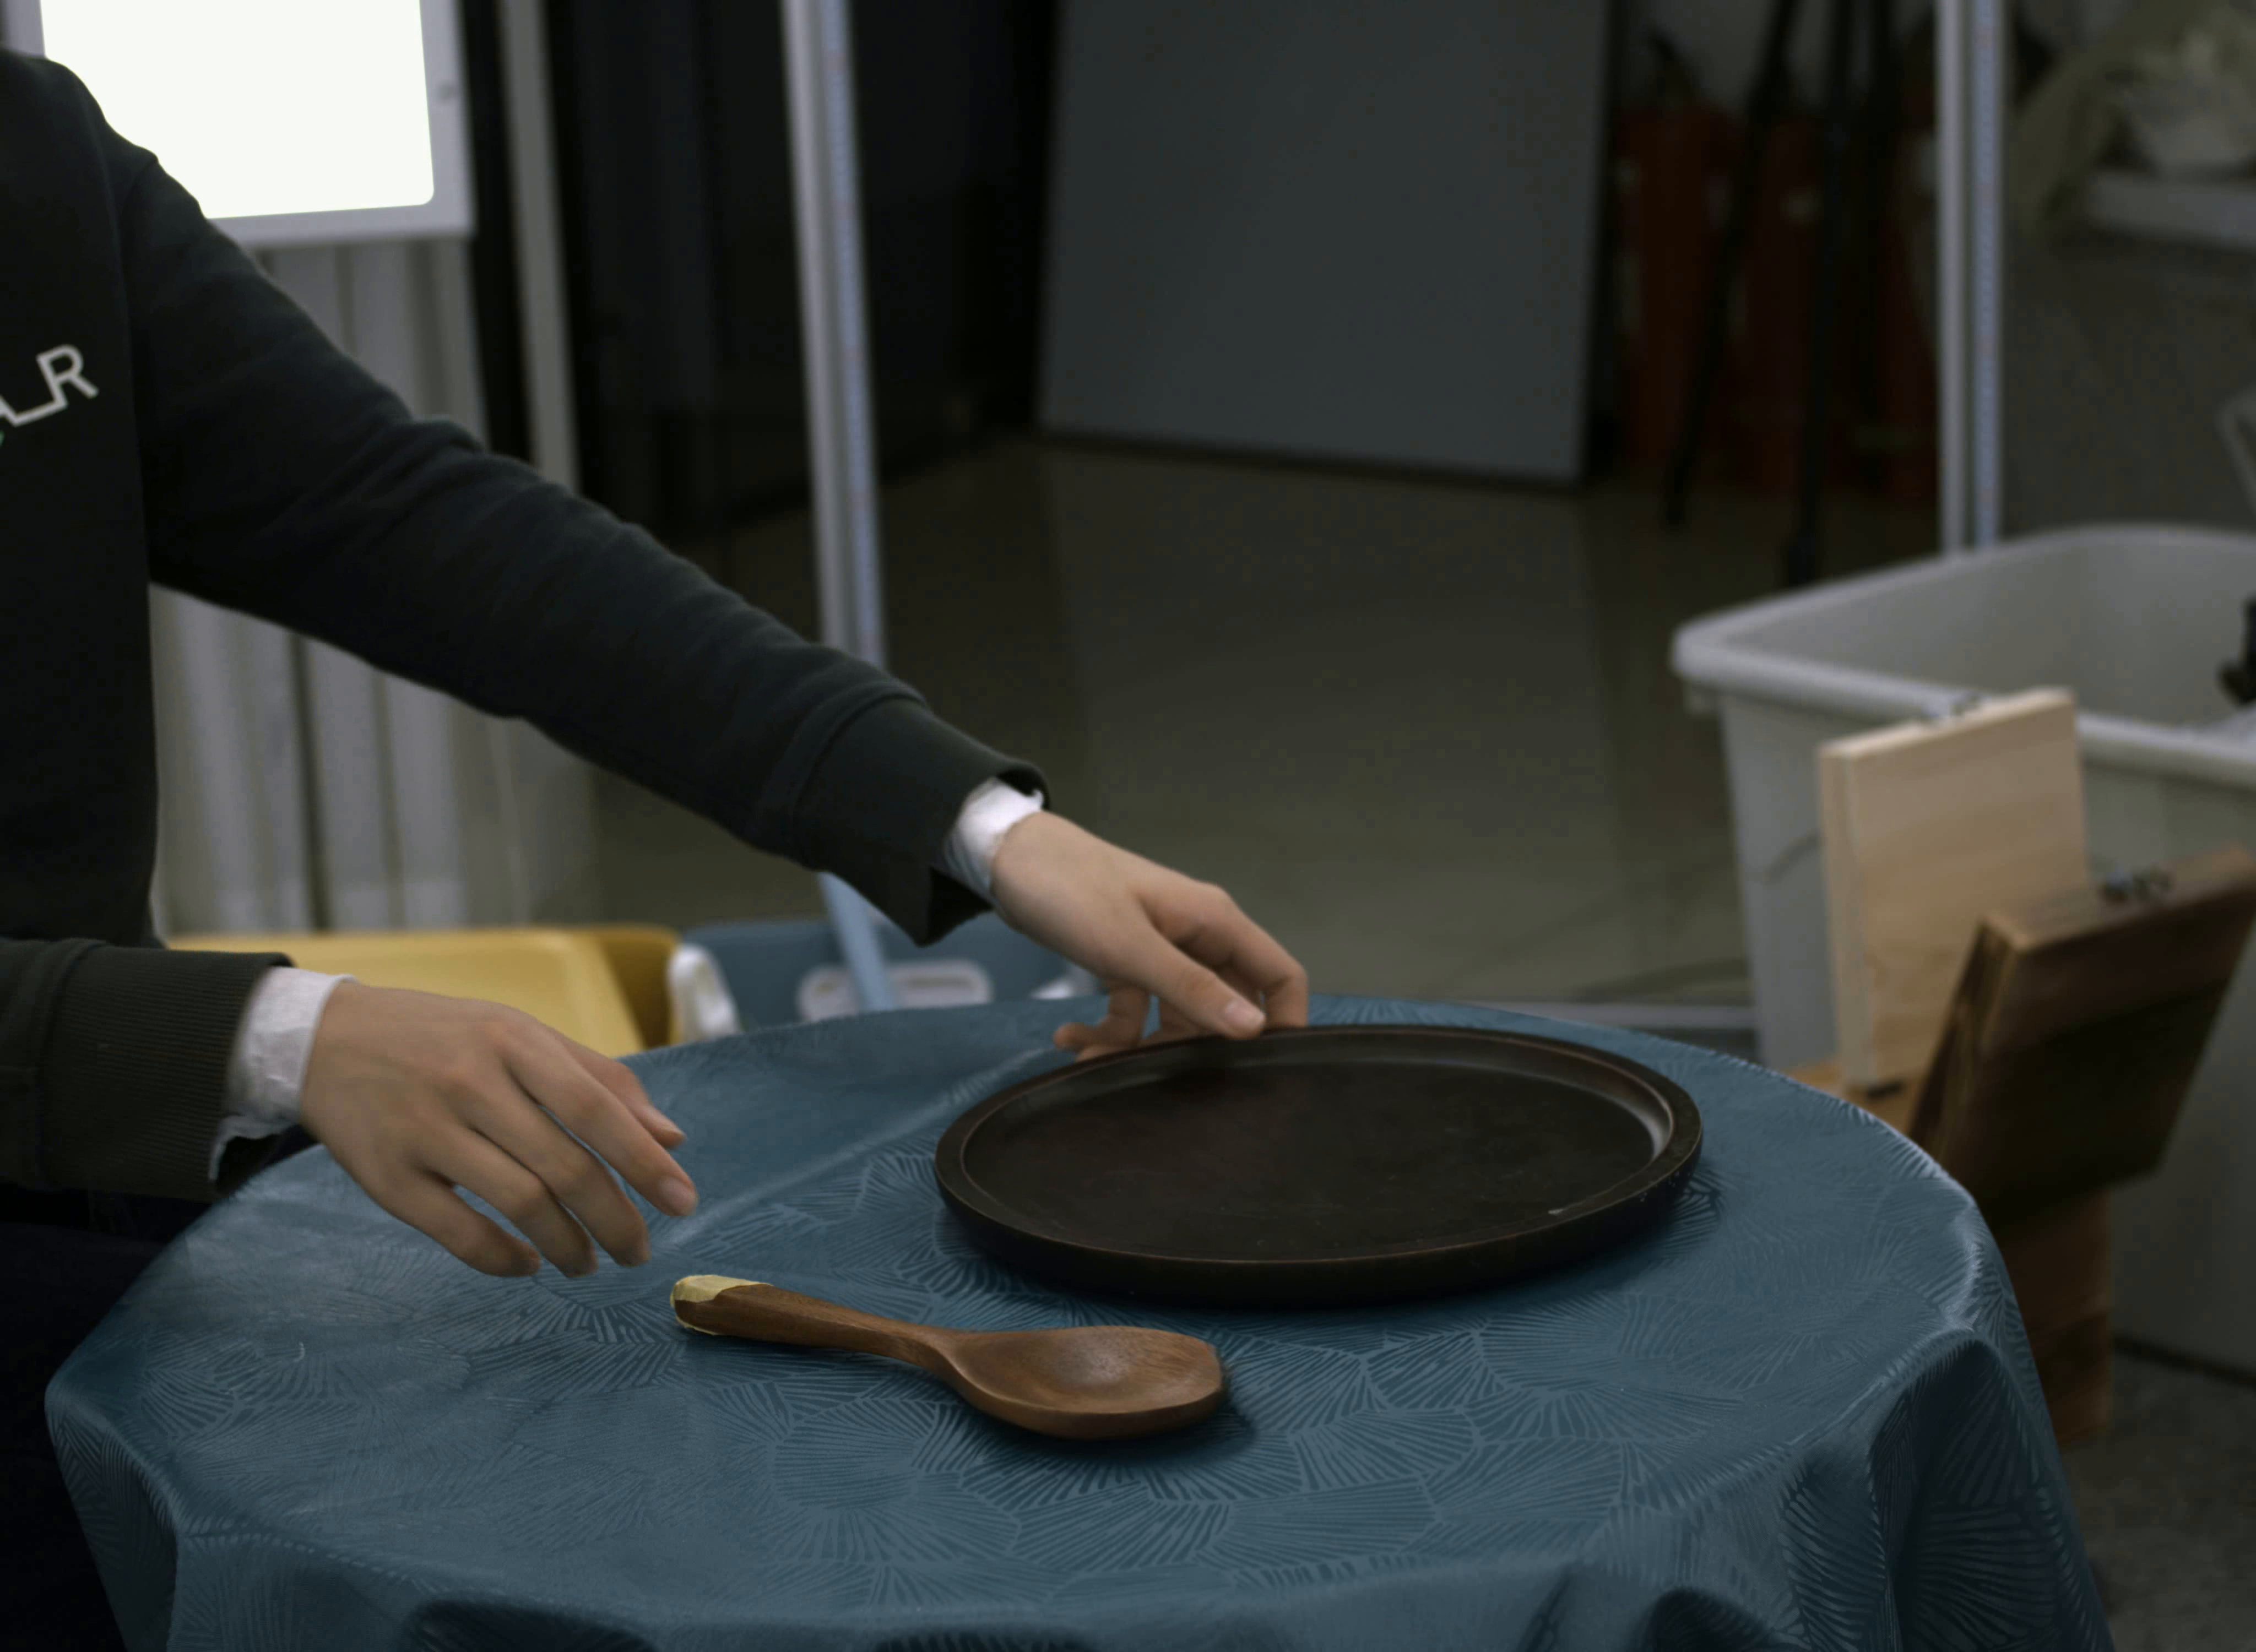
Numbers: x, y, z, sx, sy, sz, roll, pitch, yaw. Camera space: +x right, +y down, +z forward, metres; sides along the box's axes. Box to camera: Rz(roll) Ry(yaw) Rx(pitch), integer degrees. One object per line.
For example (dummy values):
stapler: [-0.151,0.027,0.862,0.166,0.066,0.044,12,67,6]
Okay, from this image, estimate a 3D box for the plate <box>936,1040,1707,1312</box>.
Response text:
plate: [0.063,0.111,1.750,0.251,0.029,0.255,-3,14,0]

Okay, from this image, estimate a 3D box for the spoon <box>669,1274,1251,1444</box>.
spoon: [-0.055,0.157,1.605,0.217,0.017,0.074,8,18,39]
